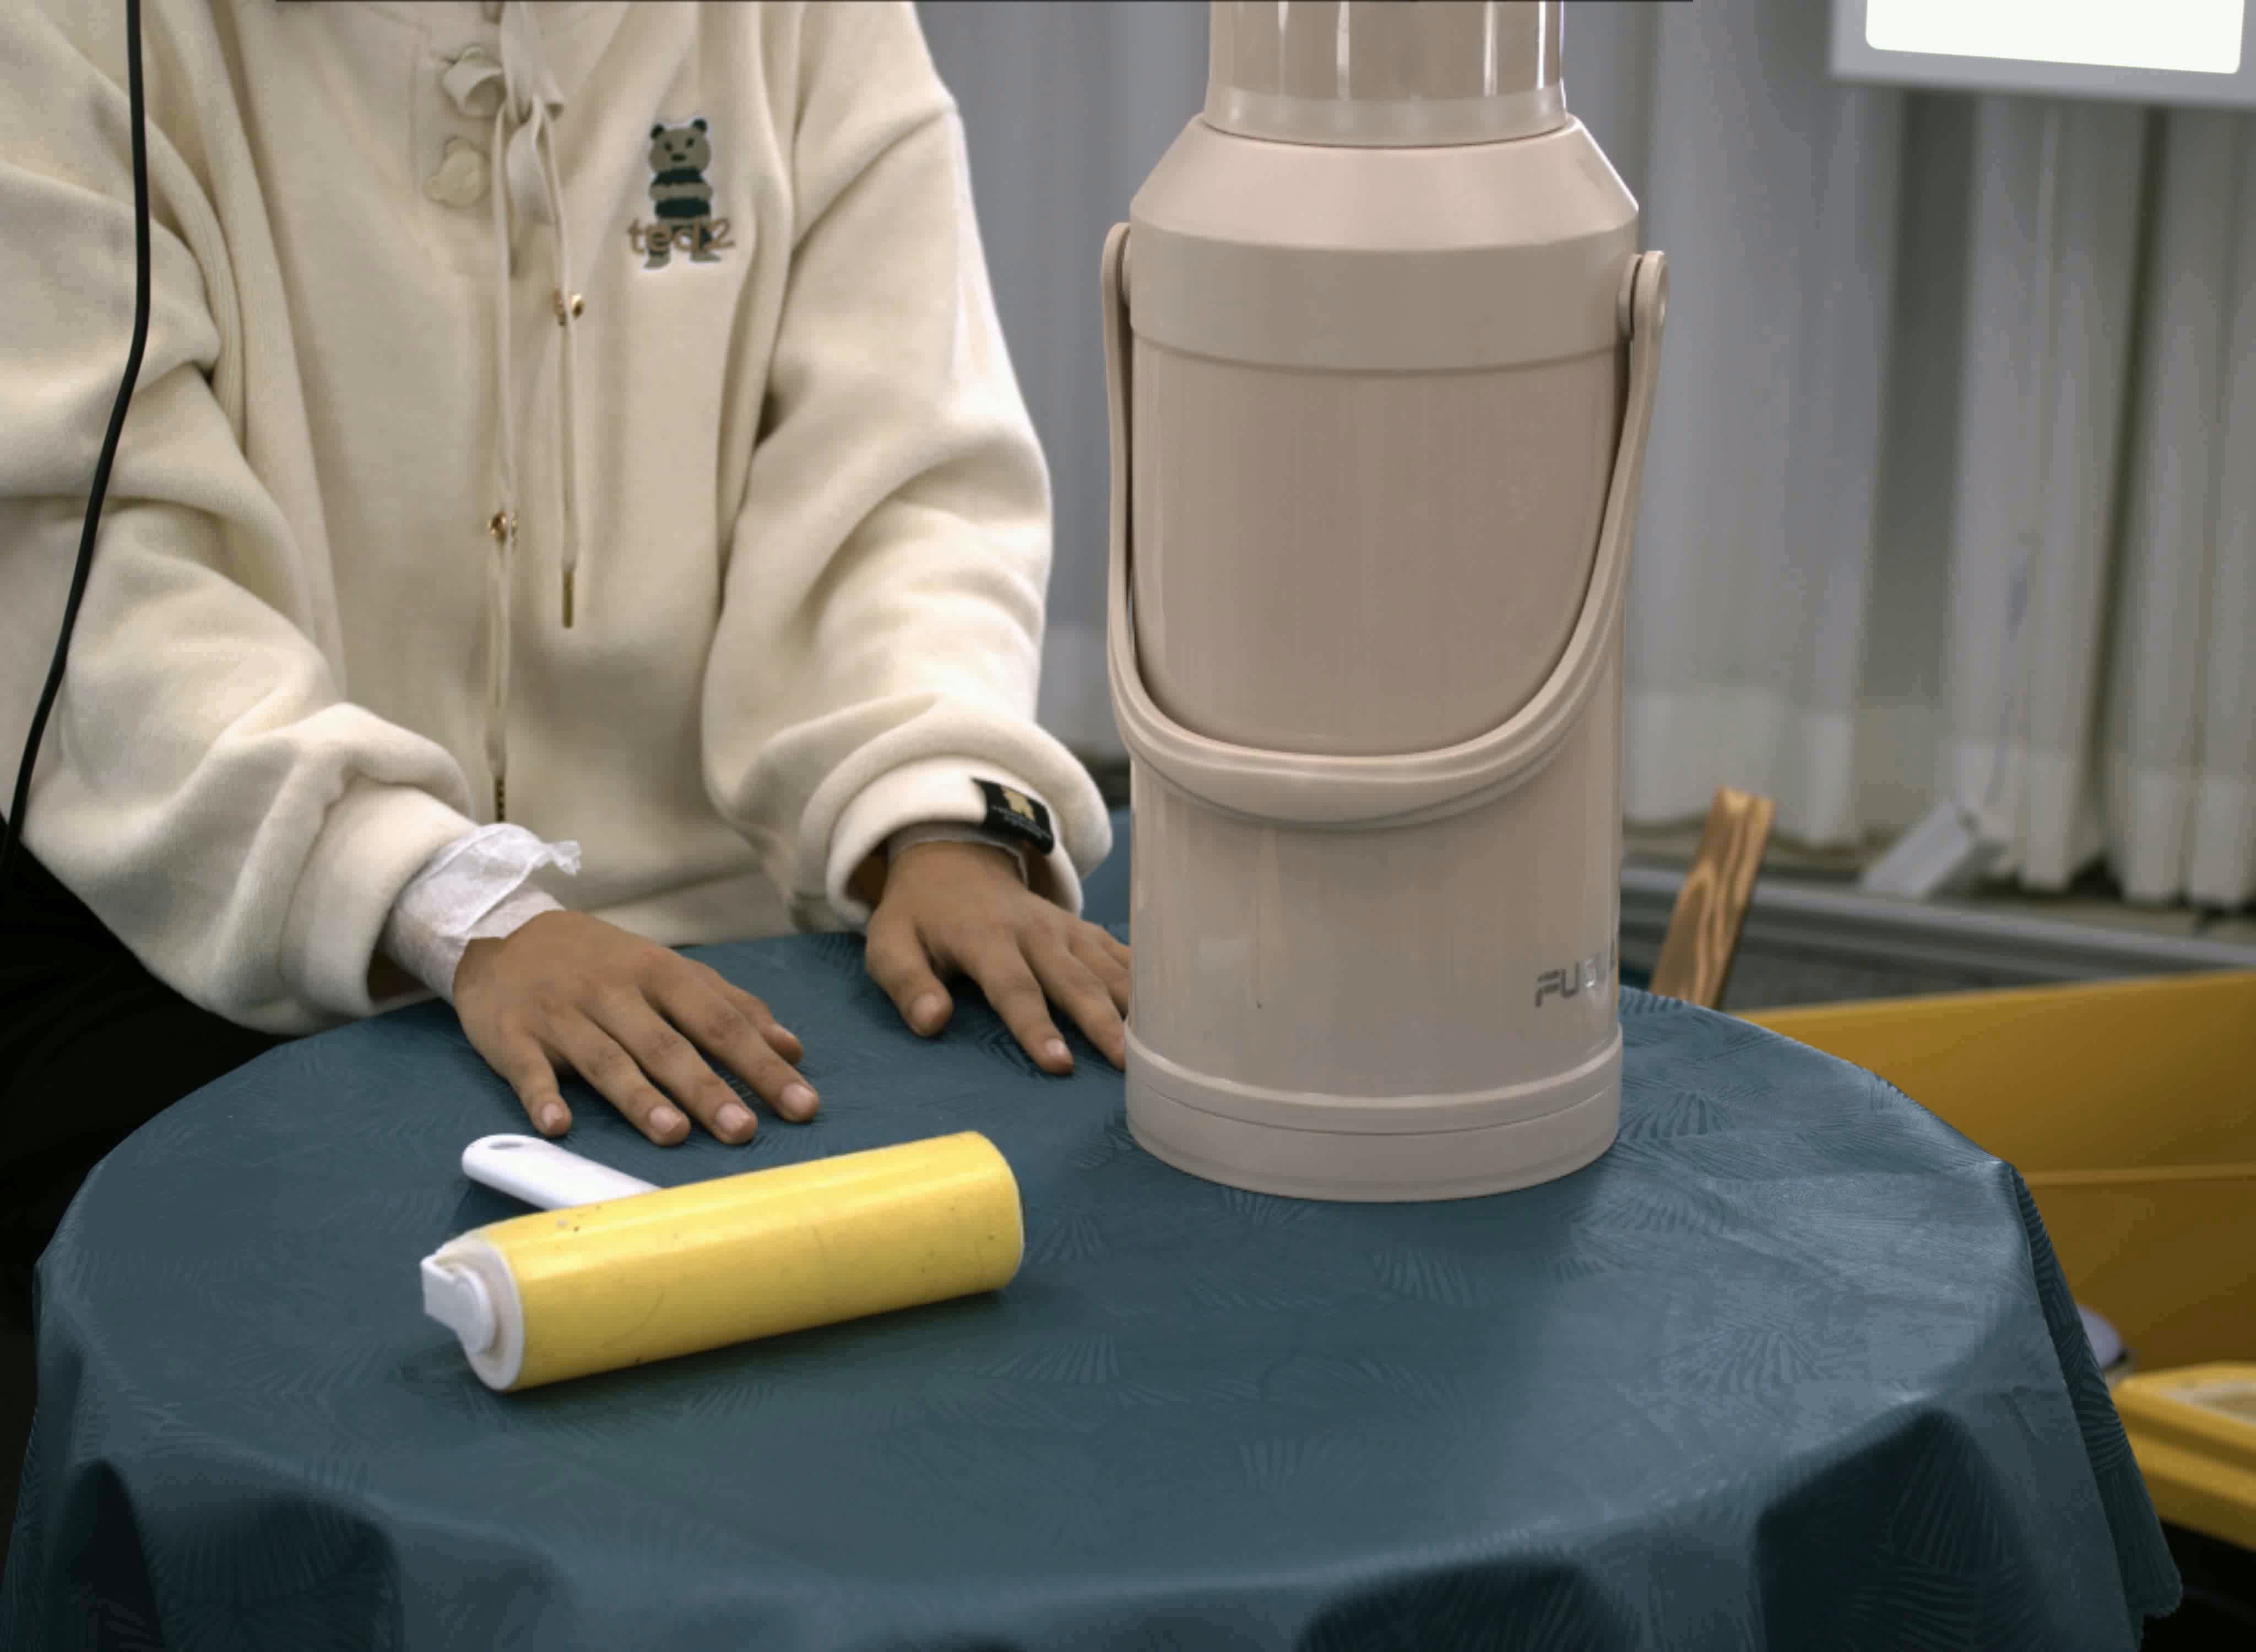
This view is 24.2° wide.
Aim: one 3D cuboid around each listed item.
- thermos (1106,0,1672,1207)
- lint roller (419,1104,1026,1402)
[{"bbox_3d":[0.084,-0.099,1.641,0.174,0.409,0.207,5,16,17],"label":"thermos"},{"bbox_3d":[-0.148,0.104,1.545,0.175,0.052,0.189,-9,25,-32],"label":"lint roller"}]
